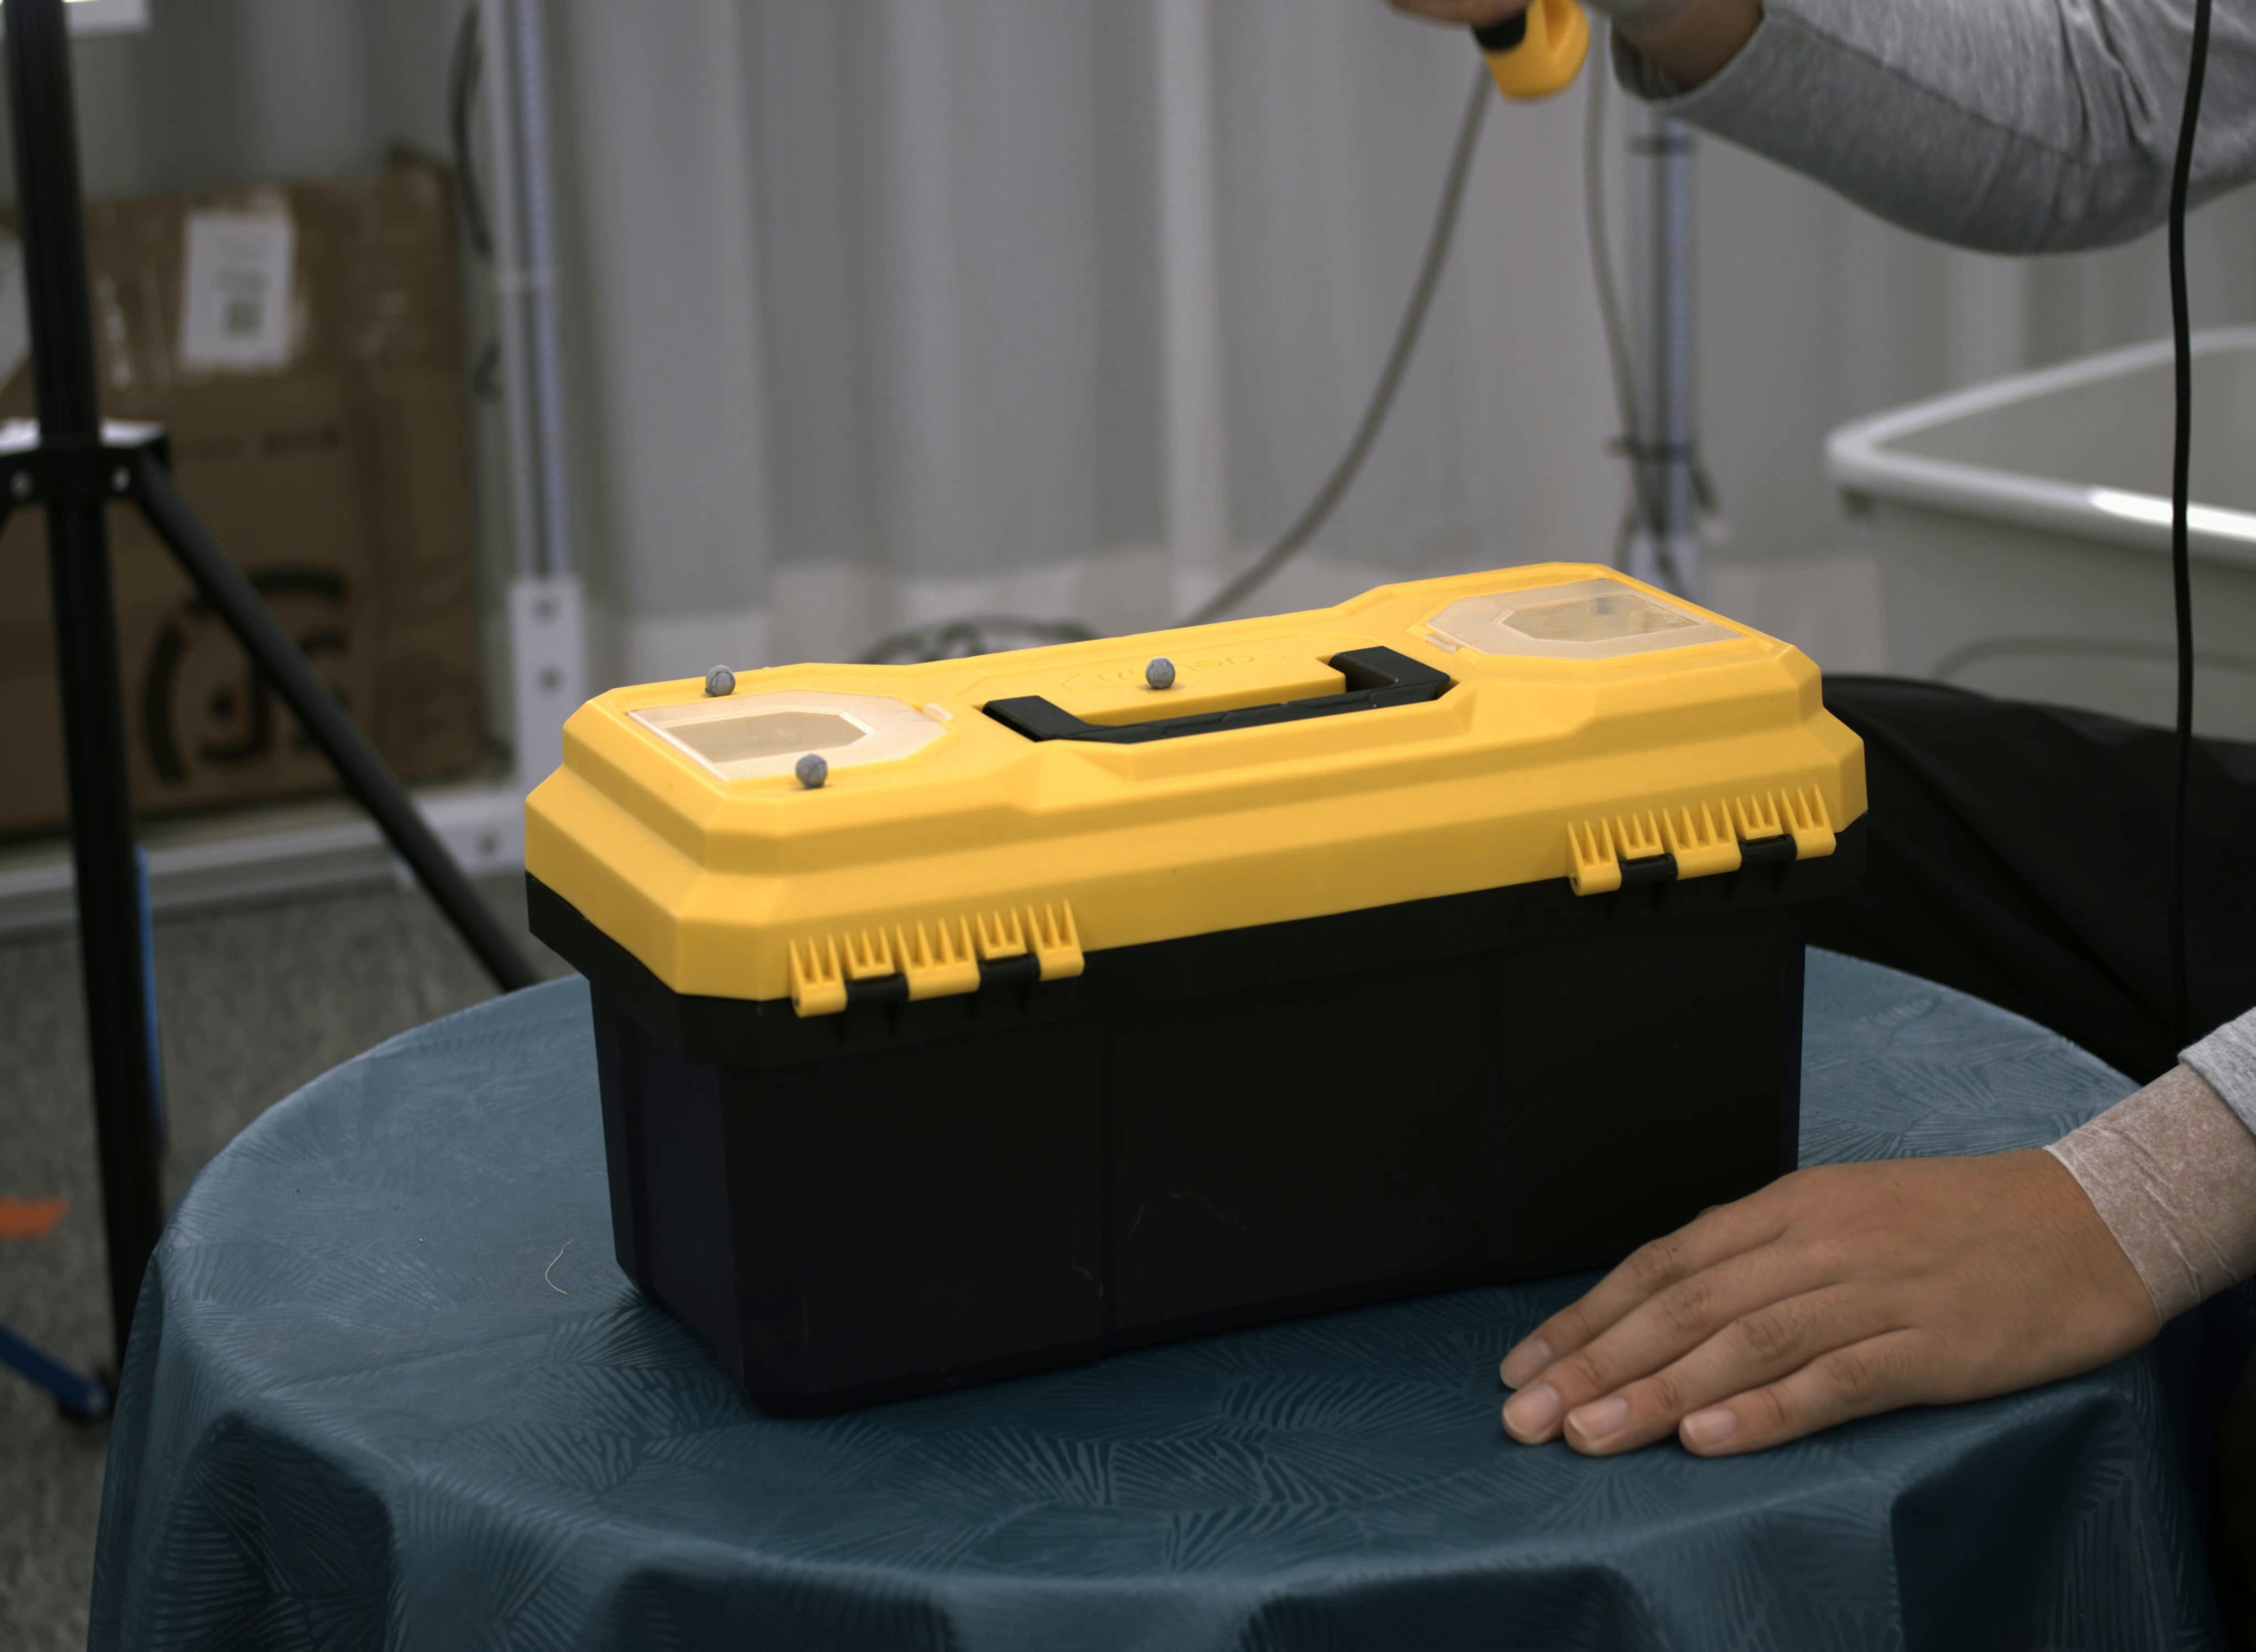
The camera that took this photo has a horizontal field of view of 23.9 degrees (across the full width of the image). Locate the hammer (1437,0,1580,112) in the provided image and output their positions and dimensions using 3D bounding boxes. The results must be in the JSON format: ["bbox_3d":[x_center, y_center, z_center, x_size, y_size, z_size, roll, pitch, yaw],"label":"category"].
[{"bbox_3d":[0.049,-0.338,1.598,0.033,0.331,0.131,-5,49,38],"label":"hammer"}]

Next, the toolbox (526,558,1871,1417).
[{"bbox_3d":[0.020,0.039,1.478,0.345,0.173,0.184,-8,16,-19],"label":"toolbox"}]
